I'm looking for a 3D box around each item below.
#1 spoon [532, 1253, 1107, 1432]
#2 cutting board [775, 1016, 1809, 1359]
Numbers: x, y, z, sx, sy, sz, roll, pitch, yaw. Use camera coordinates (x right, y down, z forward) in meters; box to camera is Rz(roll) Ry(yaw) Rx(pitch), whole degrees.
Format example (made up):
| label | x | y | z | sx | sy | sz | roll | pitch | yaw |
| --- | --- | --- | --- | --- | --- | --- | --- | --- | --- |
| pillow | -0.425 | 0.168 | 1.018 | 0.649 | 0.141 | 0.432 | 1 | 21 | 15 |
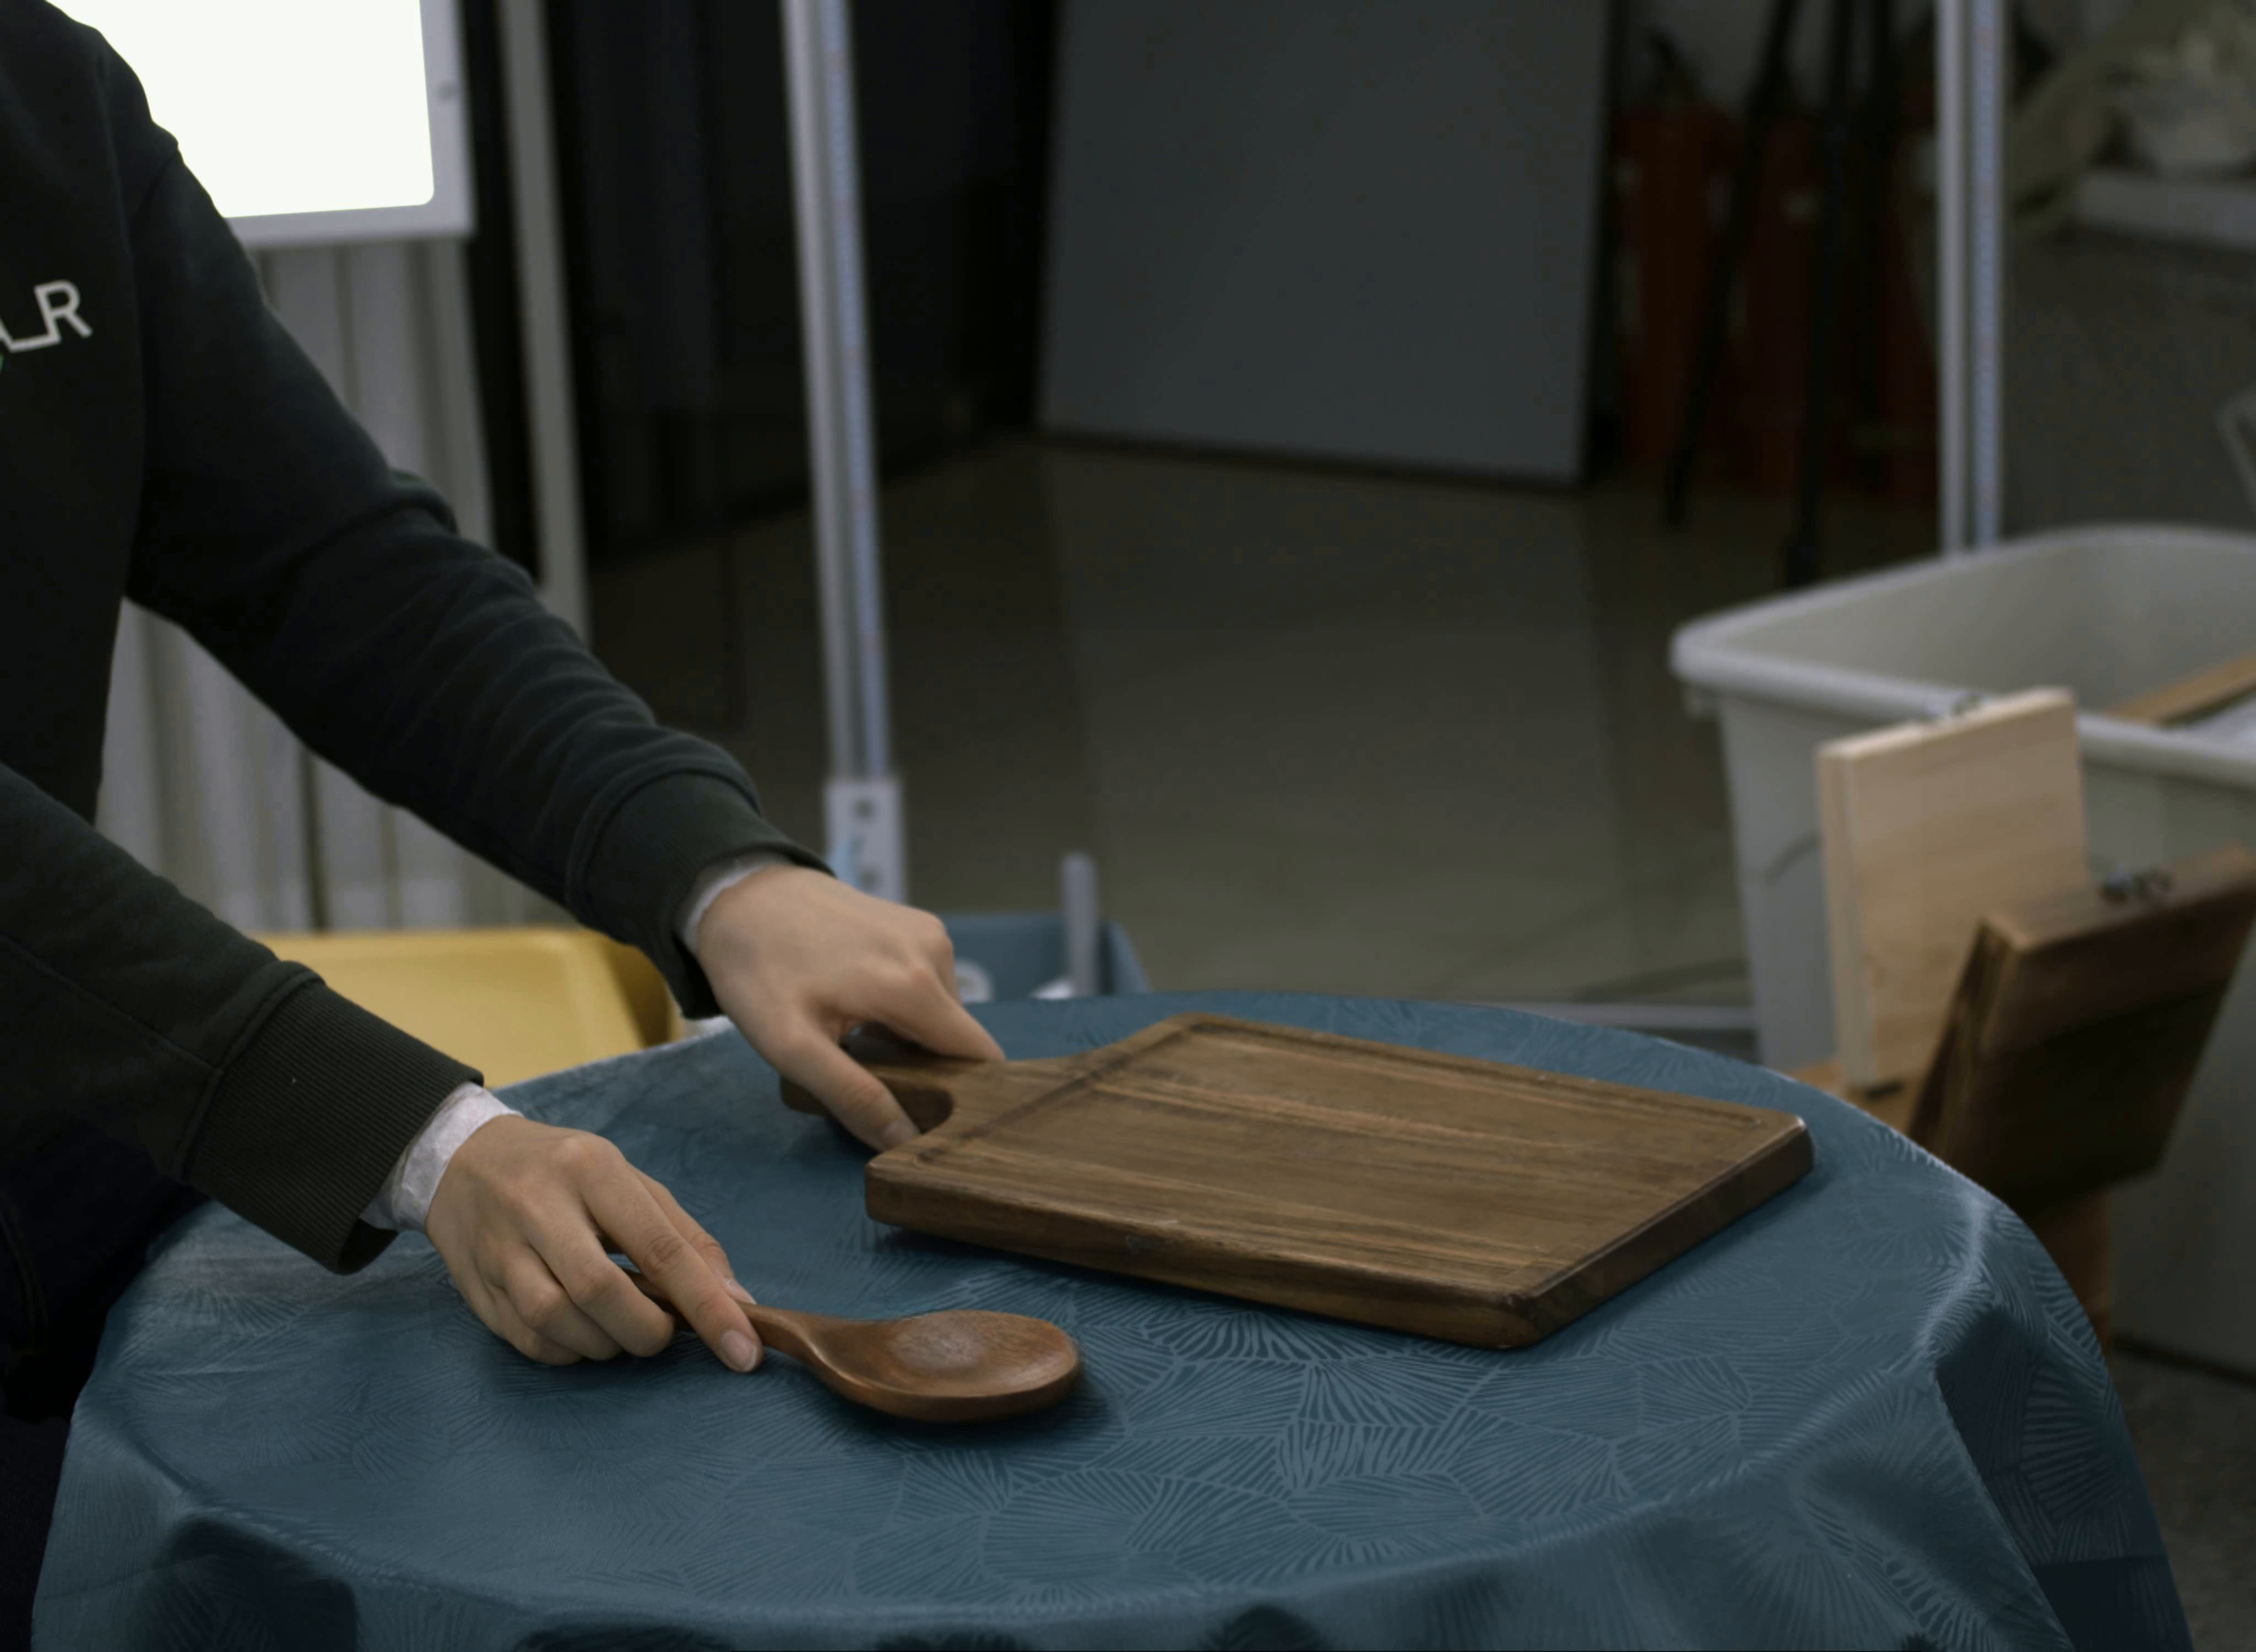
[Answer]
| label | x | y | z | sx | sy | sz | roll | pitch | yaw |
| --- | --- | --- | --- | --- | --- | --- | --- | --- | --- |
| spoon | -0.097 | 0.154 | 1.625 | 0.217 | 0.017 | 0.074 | 9 | 21 | 38 |
| cutting board | 0.028 | 0.106 | 1.765 | 0.354 | 0.023 | 0.197 | 8 | 19 | 35 |
